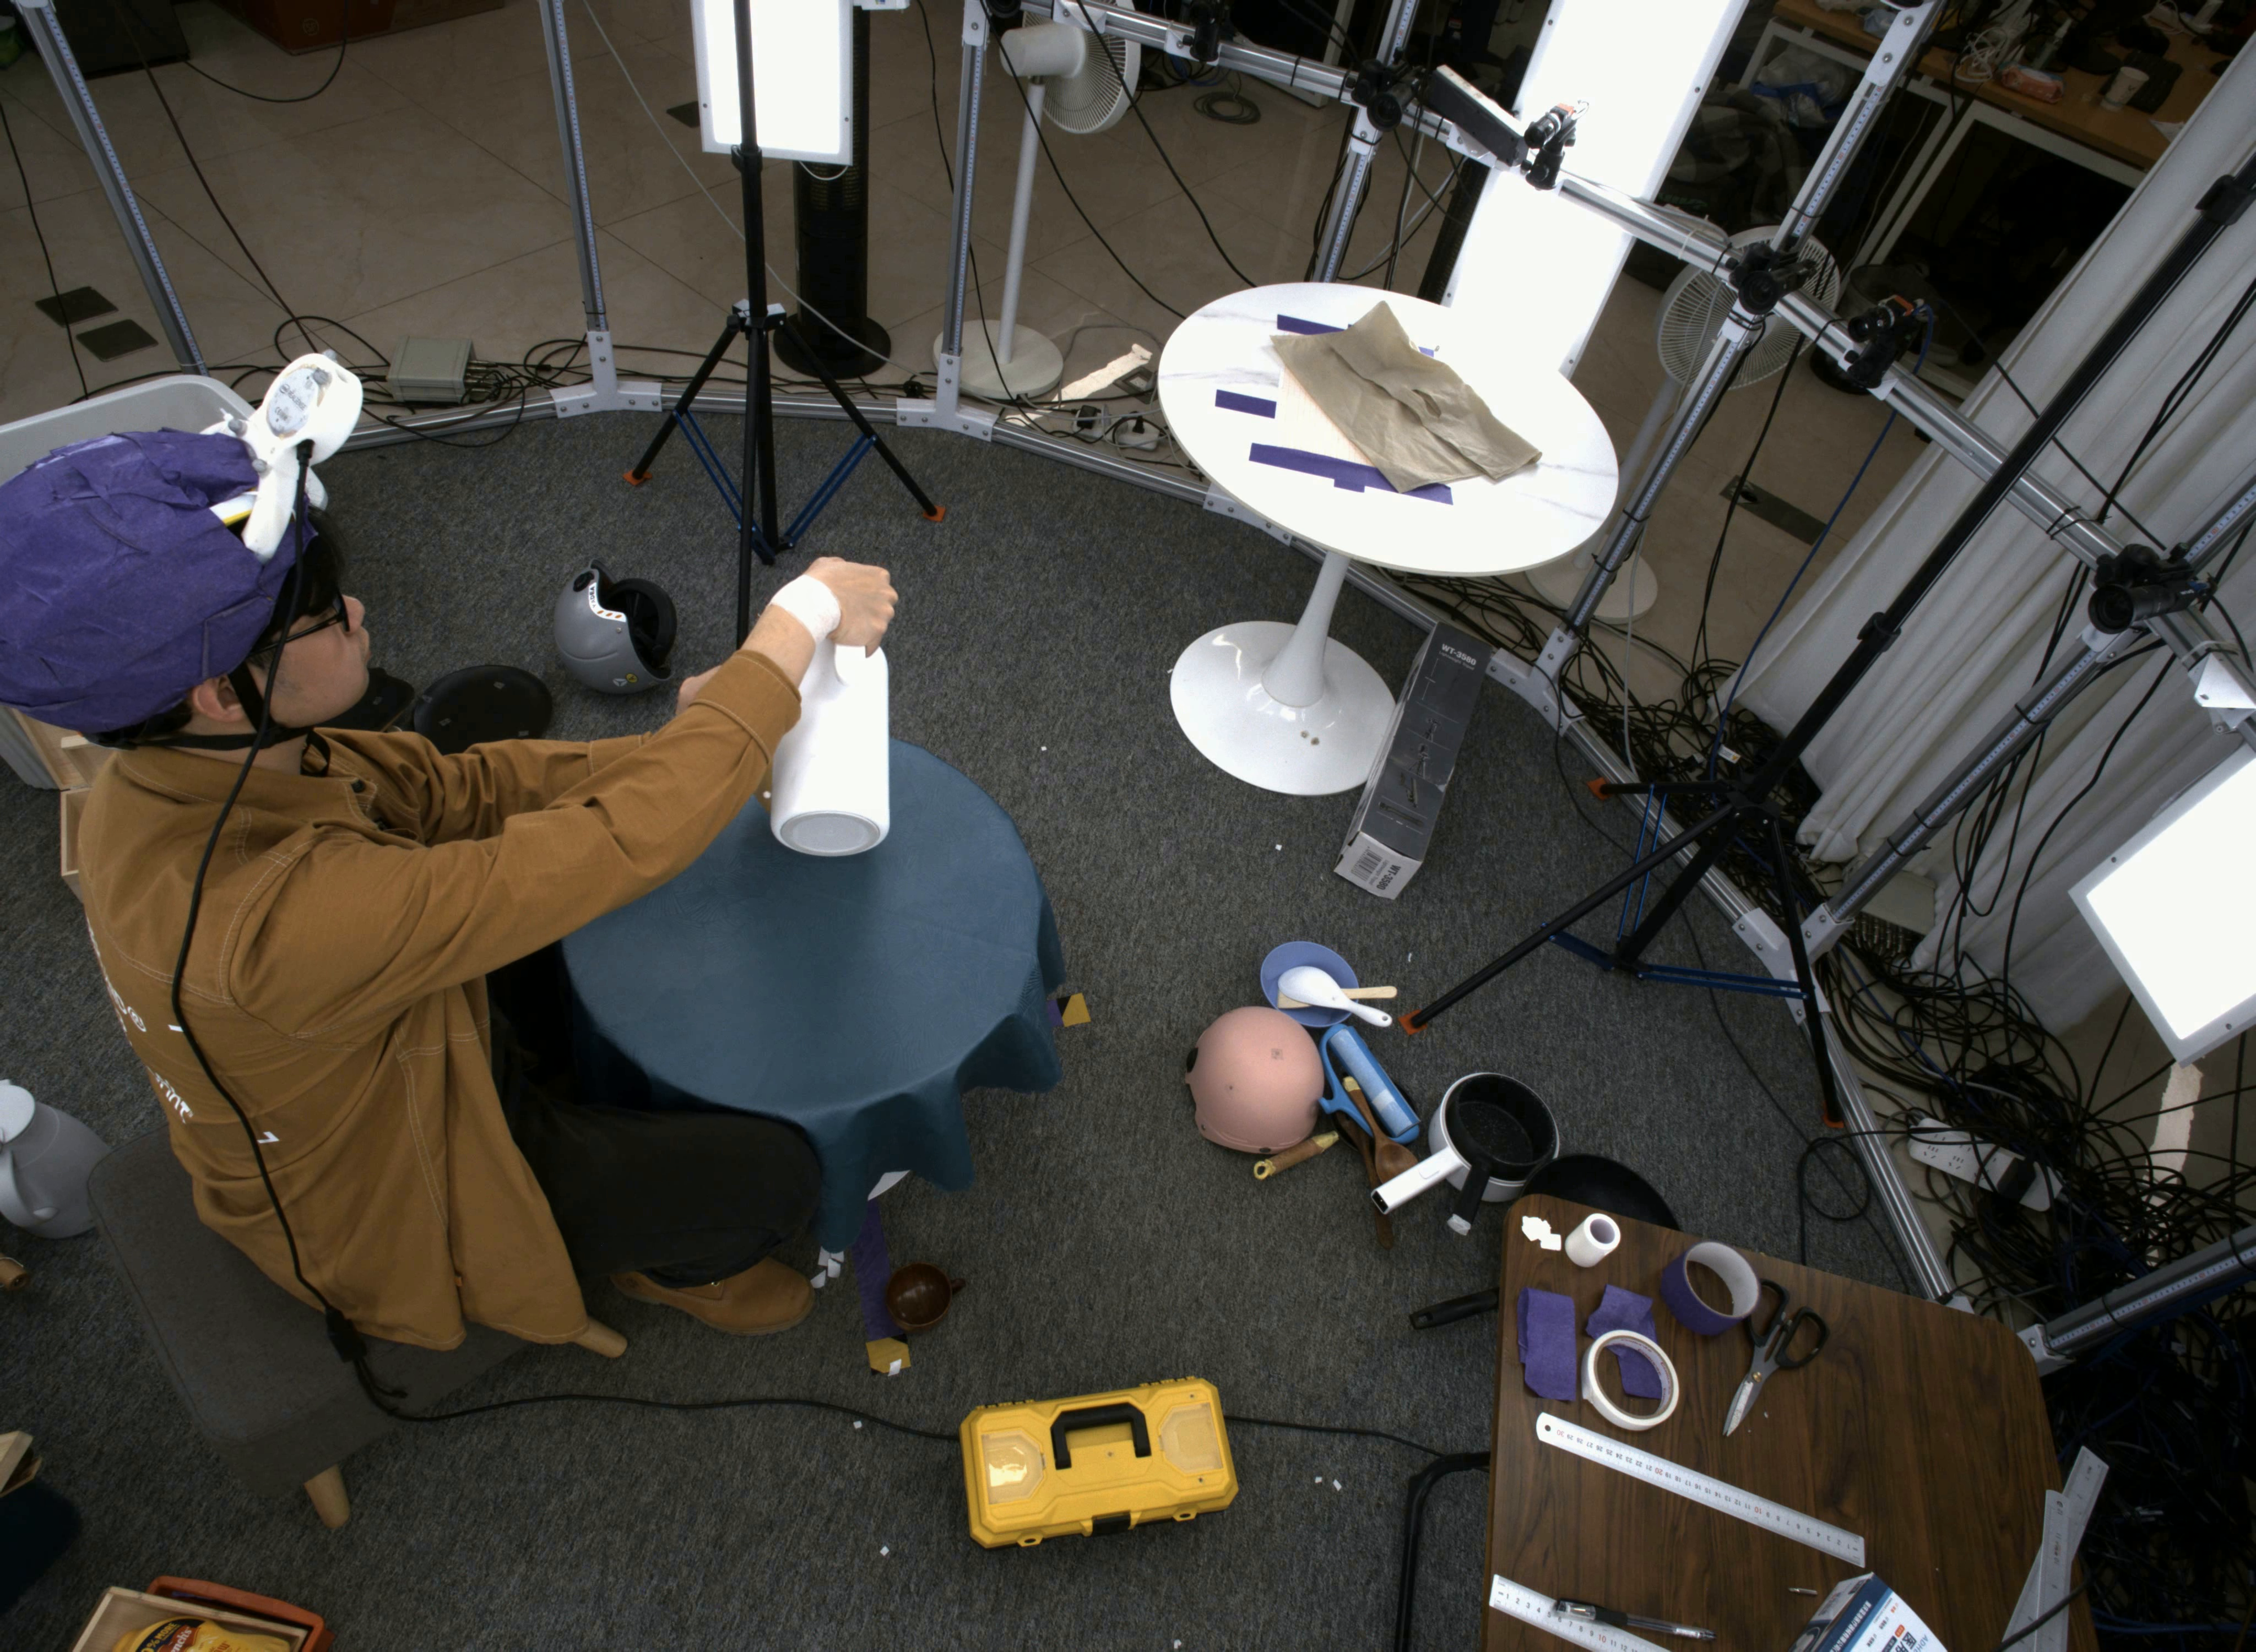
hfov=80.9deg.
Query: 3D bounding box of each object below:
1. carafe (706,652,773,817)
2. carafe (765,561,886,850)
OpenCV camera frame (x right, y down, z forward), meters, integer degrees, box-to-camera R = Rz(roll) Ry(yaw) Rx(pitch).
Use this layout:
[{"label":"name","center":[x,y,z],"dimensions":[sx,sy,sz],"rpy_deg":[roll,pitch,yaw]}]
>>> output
[{"label":"carafe","center":[-0.406,-0.124,1.570],"dimensions":[0.203,0.263,0.161],"rpy_deg":[1,60,-16]},{"label":"carafe","center":[-0.302,-0.127,1.316],"dimensions":[0.125,0.173,0.265],"rpy_deg":[7,62,-23]}]
